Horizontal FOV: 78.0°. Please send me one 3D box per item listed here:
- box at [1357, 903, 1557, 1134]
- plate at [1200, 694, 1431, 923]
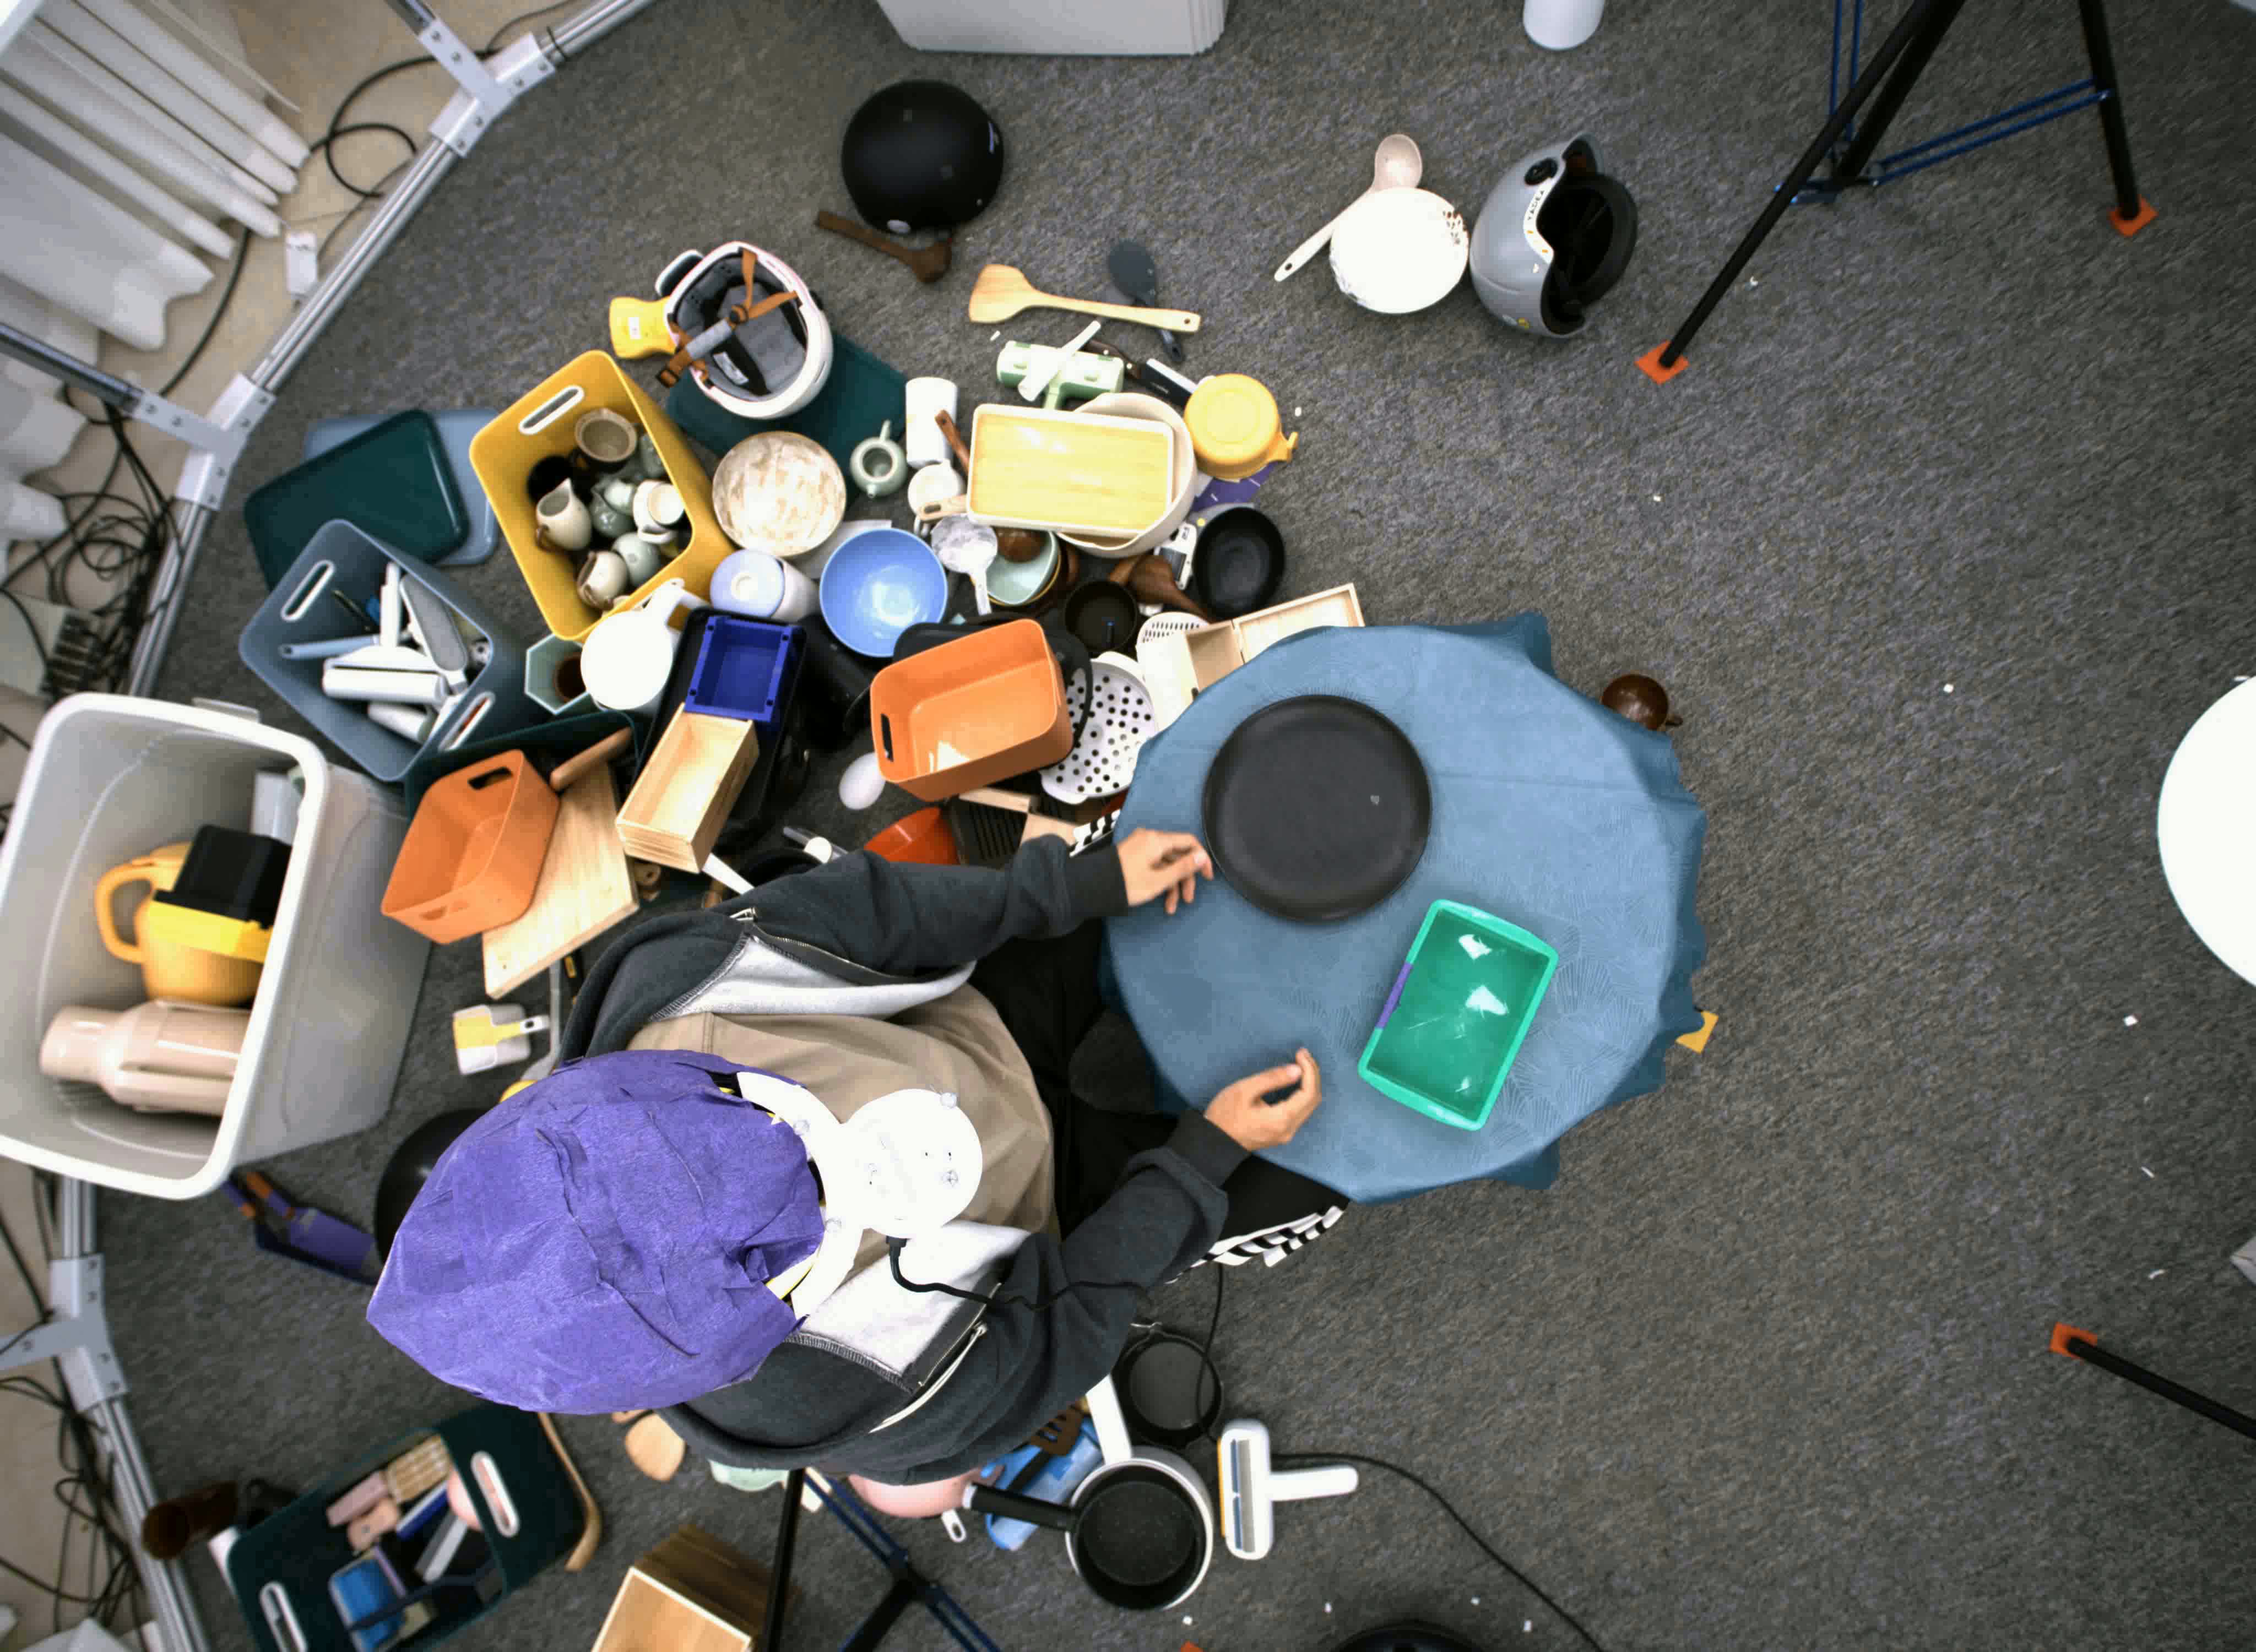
[{"bbox_3d":[0.334,0.192,1.409,0.138,0.065,0.211,24,93,13],"label":"box"},{"bbox_3d":[0.198,-0.019,1.466,0.245,0.023,0.243,-1,87,10],"label":"plate"}]
